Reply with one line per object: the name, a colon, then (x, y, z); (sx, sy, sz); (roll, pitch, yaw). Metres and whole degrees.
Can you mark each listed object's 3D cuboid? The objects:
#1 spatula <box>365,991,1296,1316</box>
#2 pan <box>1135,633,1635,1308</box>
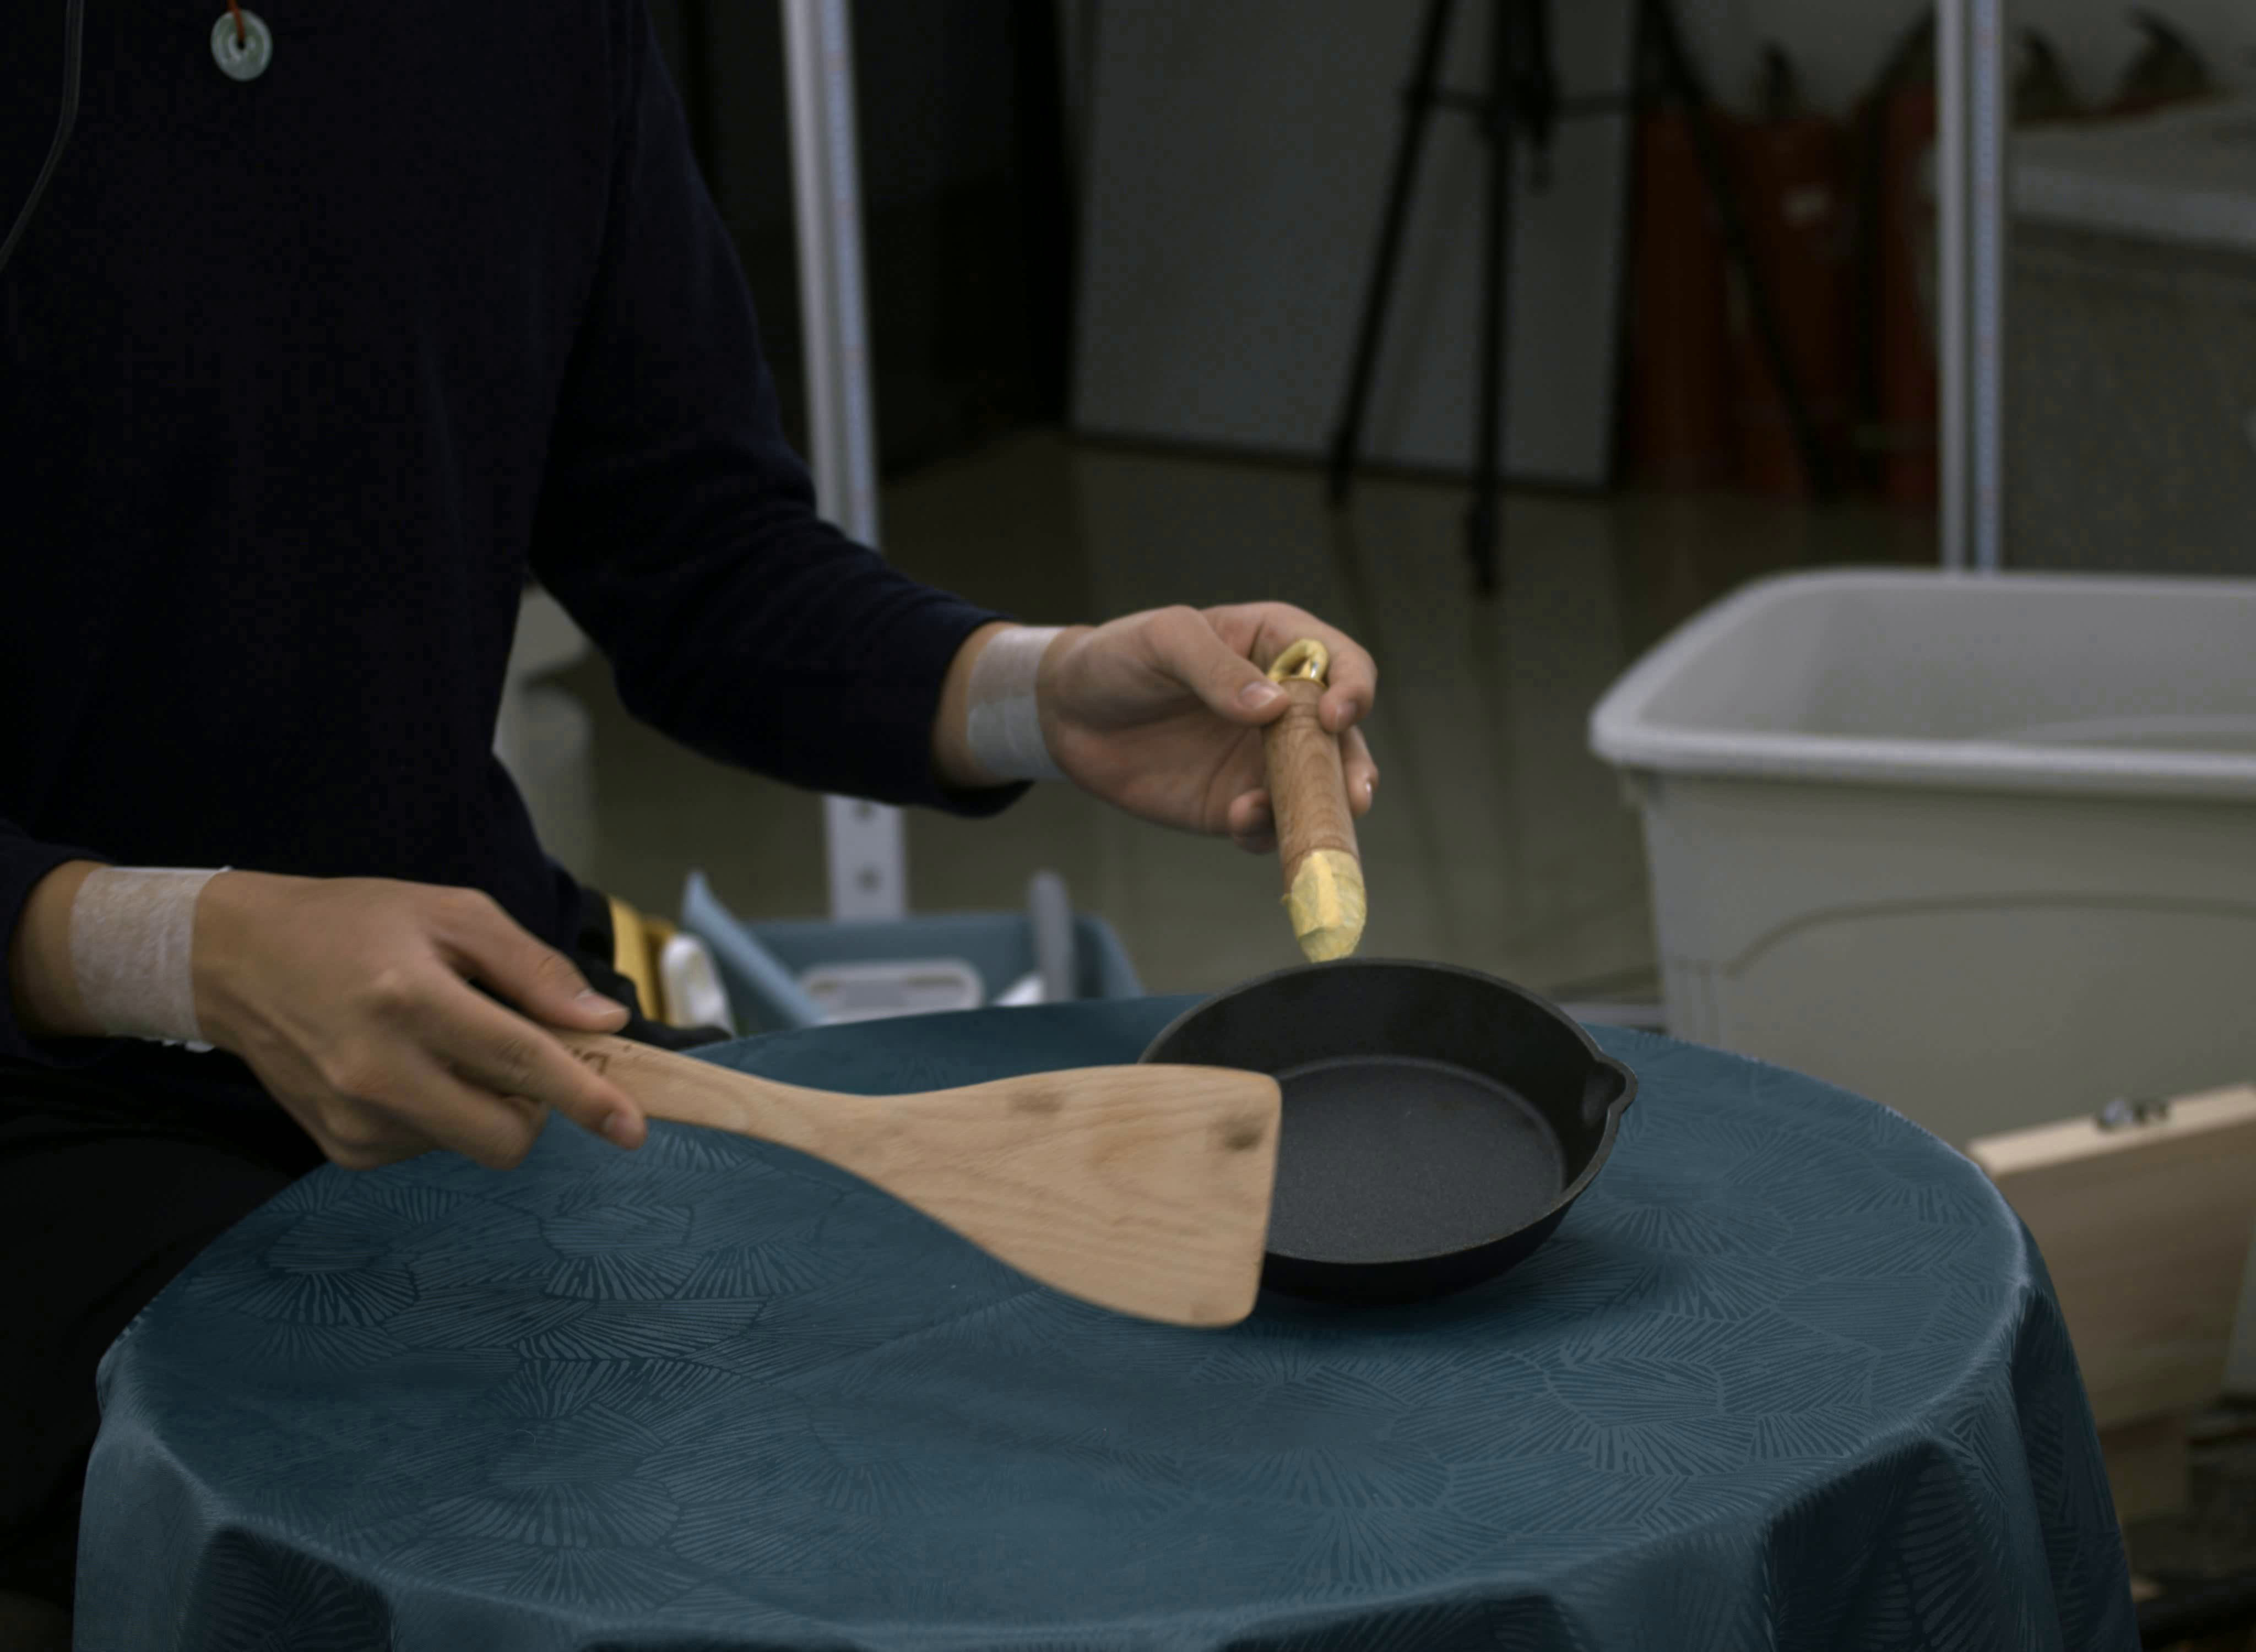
spatula: (-0.092, 0.082, 1.599); (0.328, 0.080, 0.016); (9, -19, 28)
pan: (0.071, 0.044, 1.753); (0.167, 0.050, 0.326); (-5, 36, 0)
